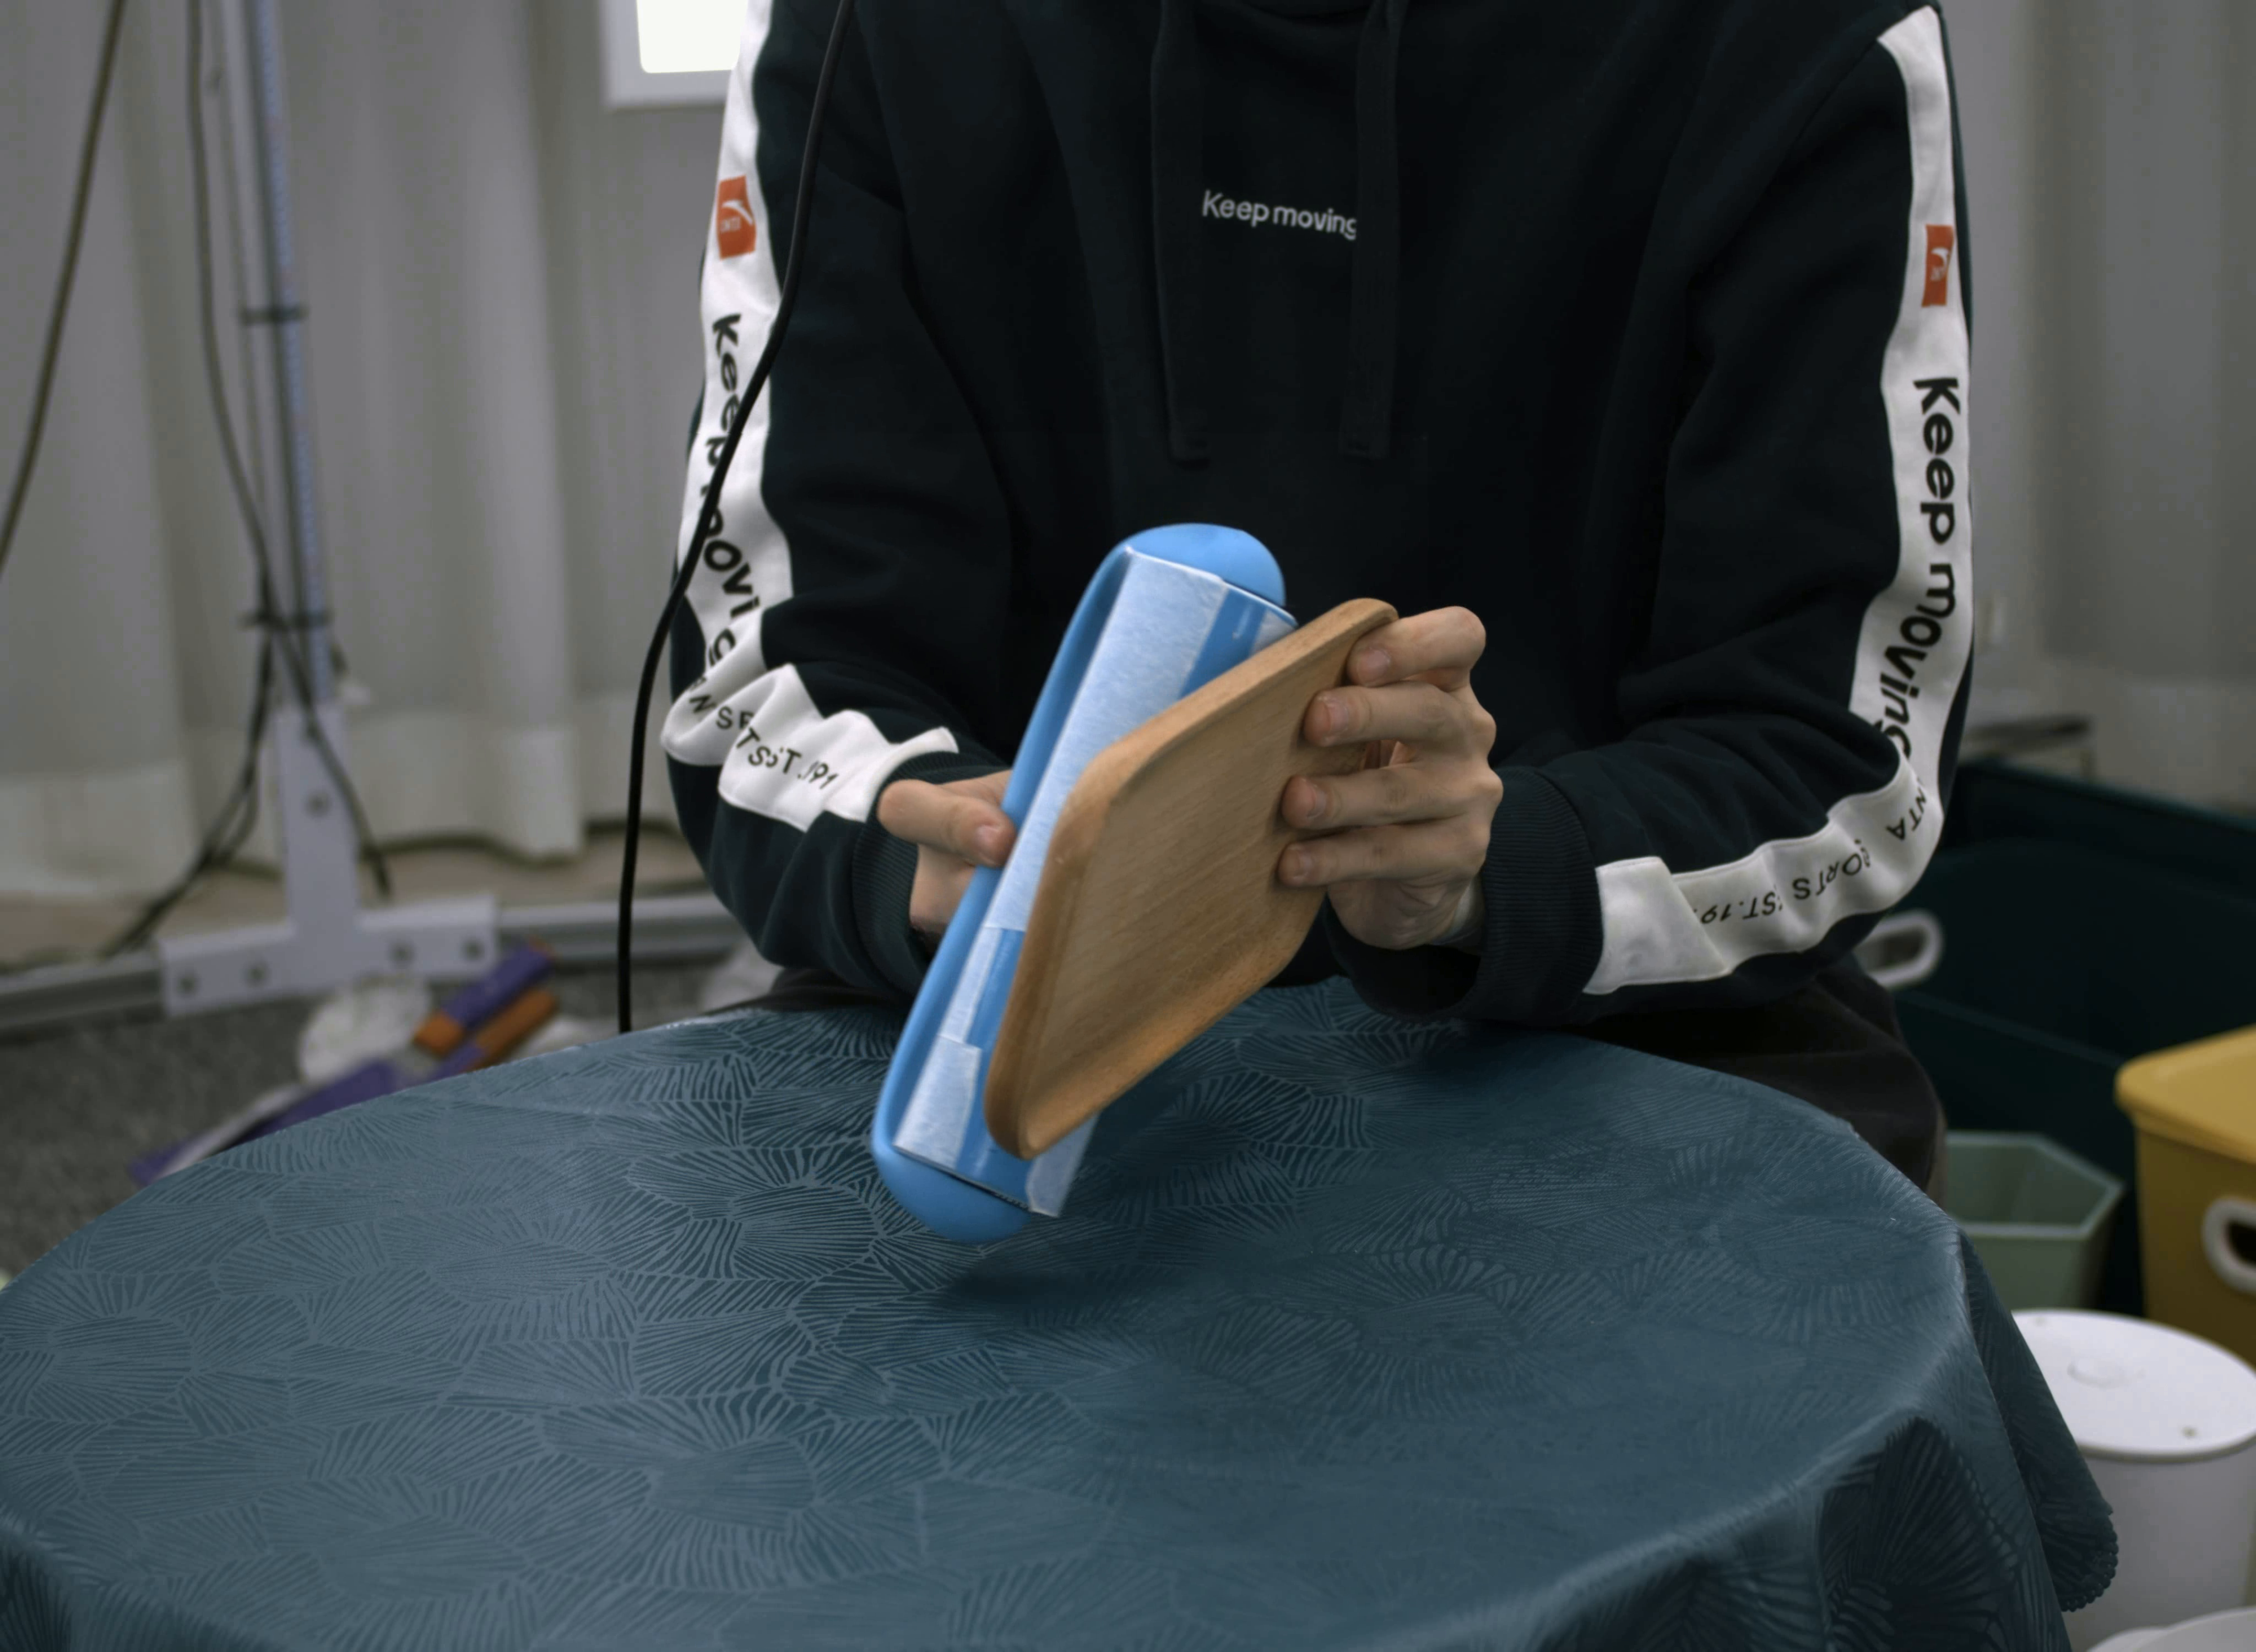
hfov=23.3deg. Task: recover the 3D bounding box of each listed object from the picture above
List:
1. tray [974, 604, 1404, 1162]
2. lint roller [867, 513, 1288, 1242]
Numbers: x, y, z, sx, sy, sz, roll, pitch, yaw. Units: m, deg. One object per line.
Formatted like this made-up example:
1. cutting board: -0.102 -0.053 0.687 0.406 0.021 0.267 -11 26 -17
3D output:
1. tray: 0.020 0.011 1.597 0.023 0.130 0.251 24 20 15
2. lint roller: -0.018 0.019 1.683 0.068 0.230 0.180 21 -7 -3
